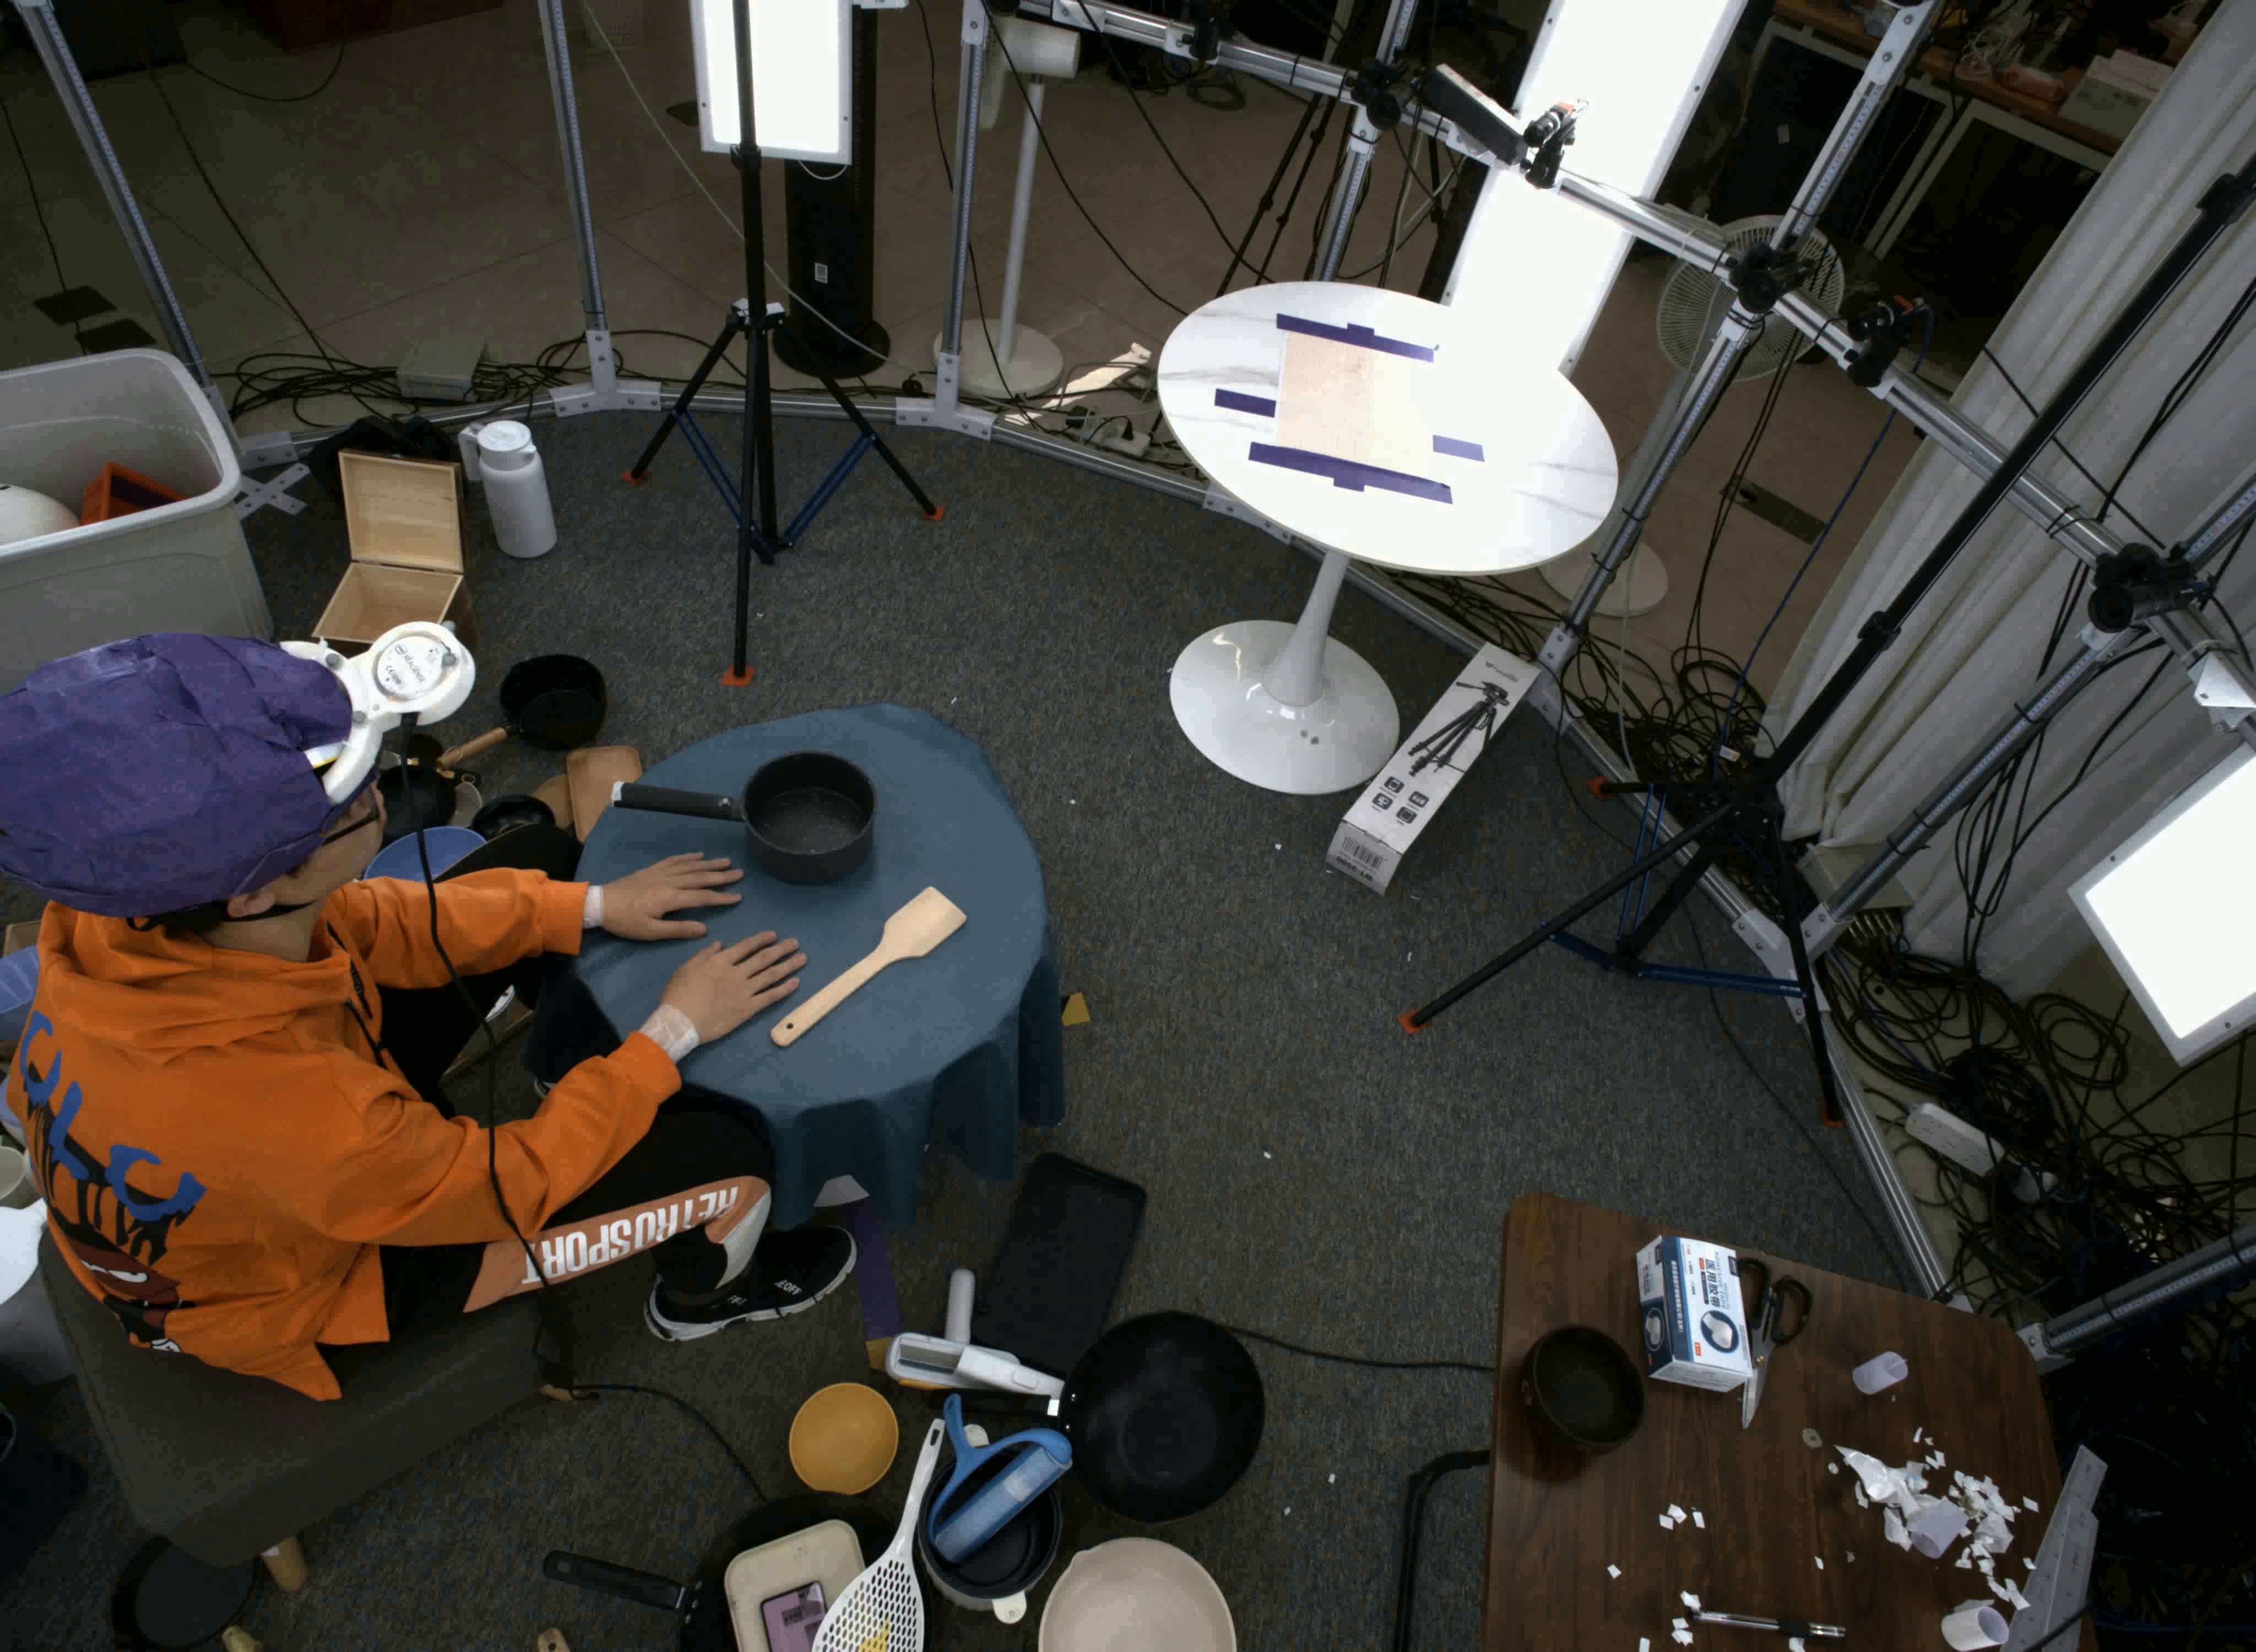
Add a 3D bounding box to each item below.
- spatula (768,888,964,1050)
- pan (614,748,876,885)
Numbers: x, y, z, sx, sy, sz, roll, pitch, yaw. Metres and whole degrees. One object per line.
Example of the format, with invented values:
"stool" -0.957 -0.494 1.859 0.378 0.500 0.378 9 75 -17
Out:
"spatula" -0.325 0.178 1.601 0.071 0.011 0.293 42 54 12
"pan" -0.490 -0.018 1.655 0.329 0.088 0.168 5 52 -13
